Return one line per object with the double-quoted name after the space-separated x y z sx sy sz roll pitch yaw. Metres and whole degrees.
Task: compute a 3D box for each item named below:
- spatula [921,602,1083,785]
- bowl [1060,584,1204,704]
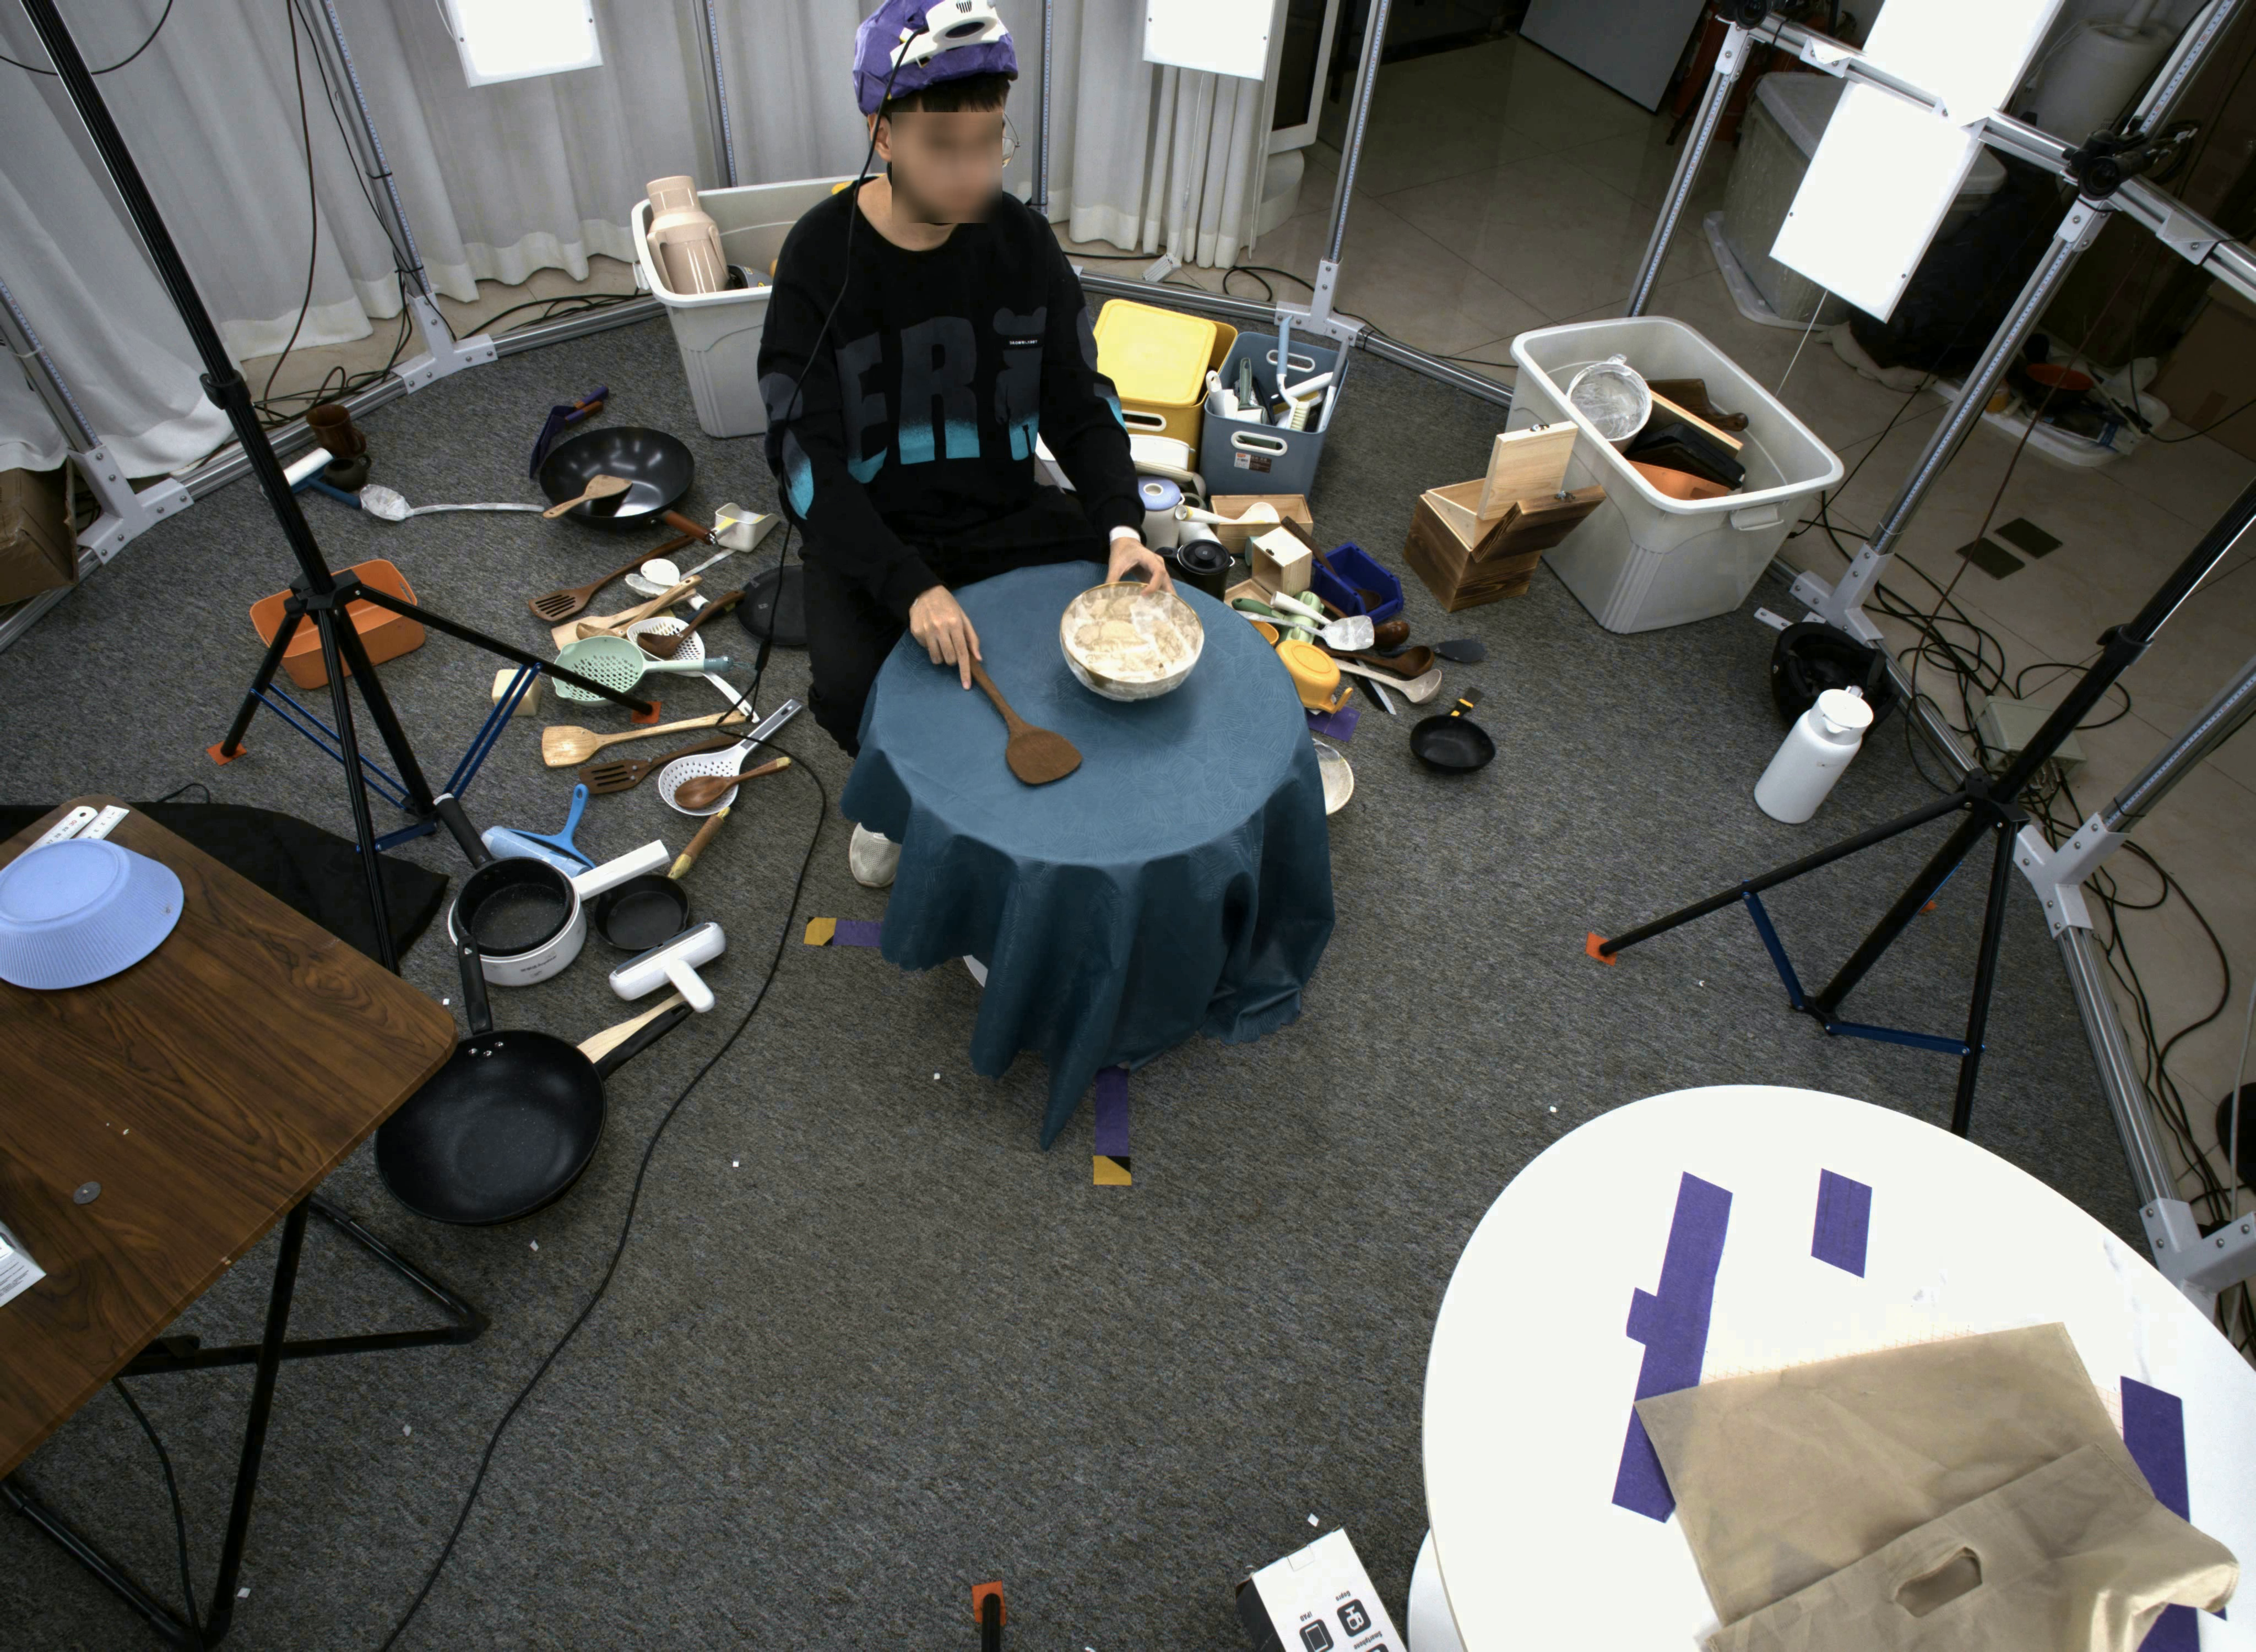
-0.196 -0.198 1.824 0.096 0.015 0.393 -24 58 -23 "spatula"
0.005 -0.247 1.840 0.214 0.092 0.220 1 50 -1 "bowl"
